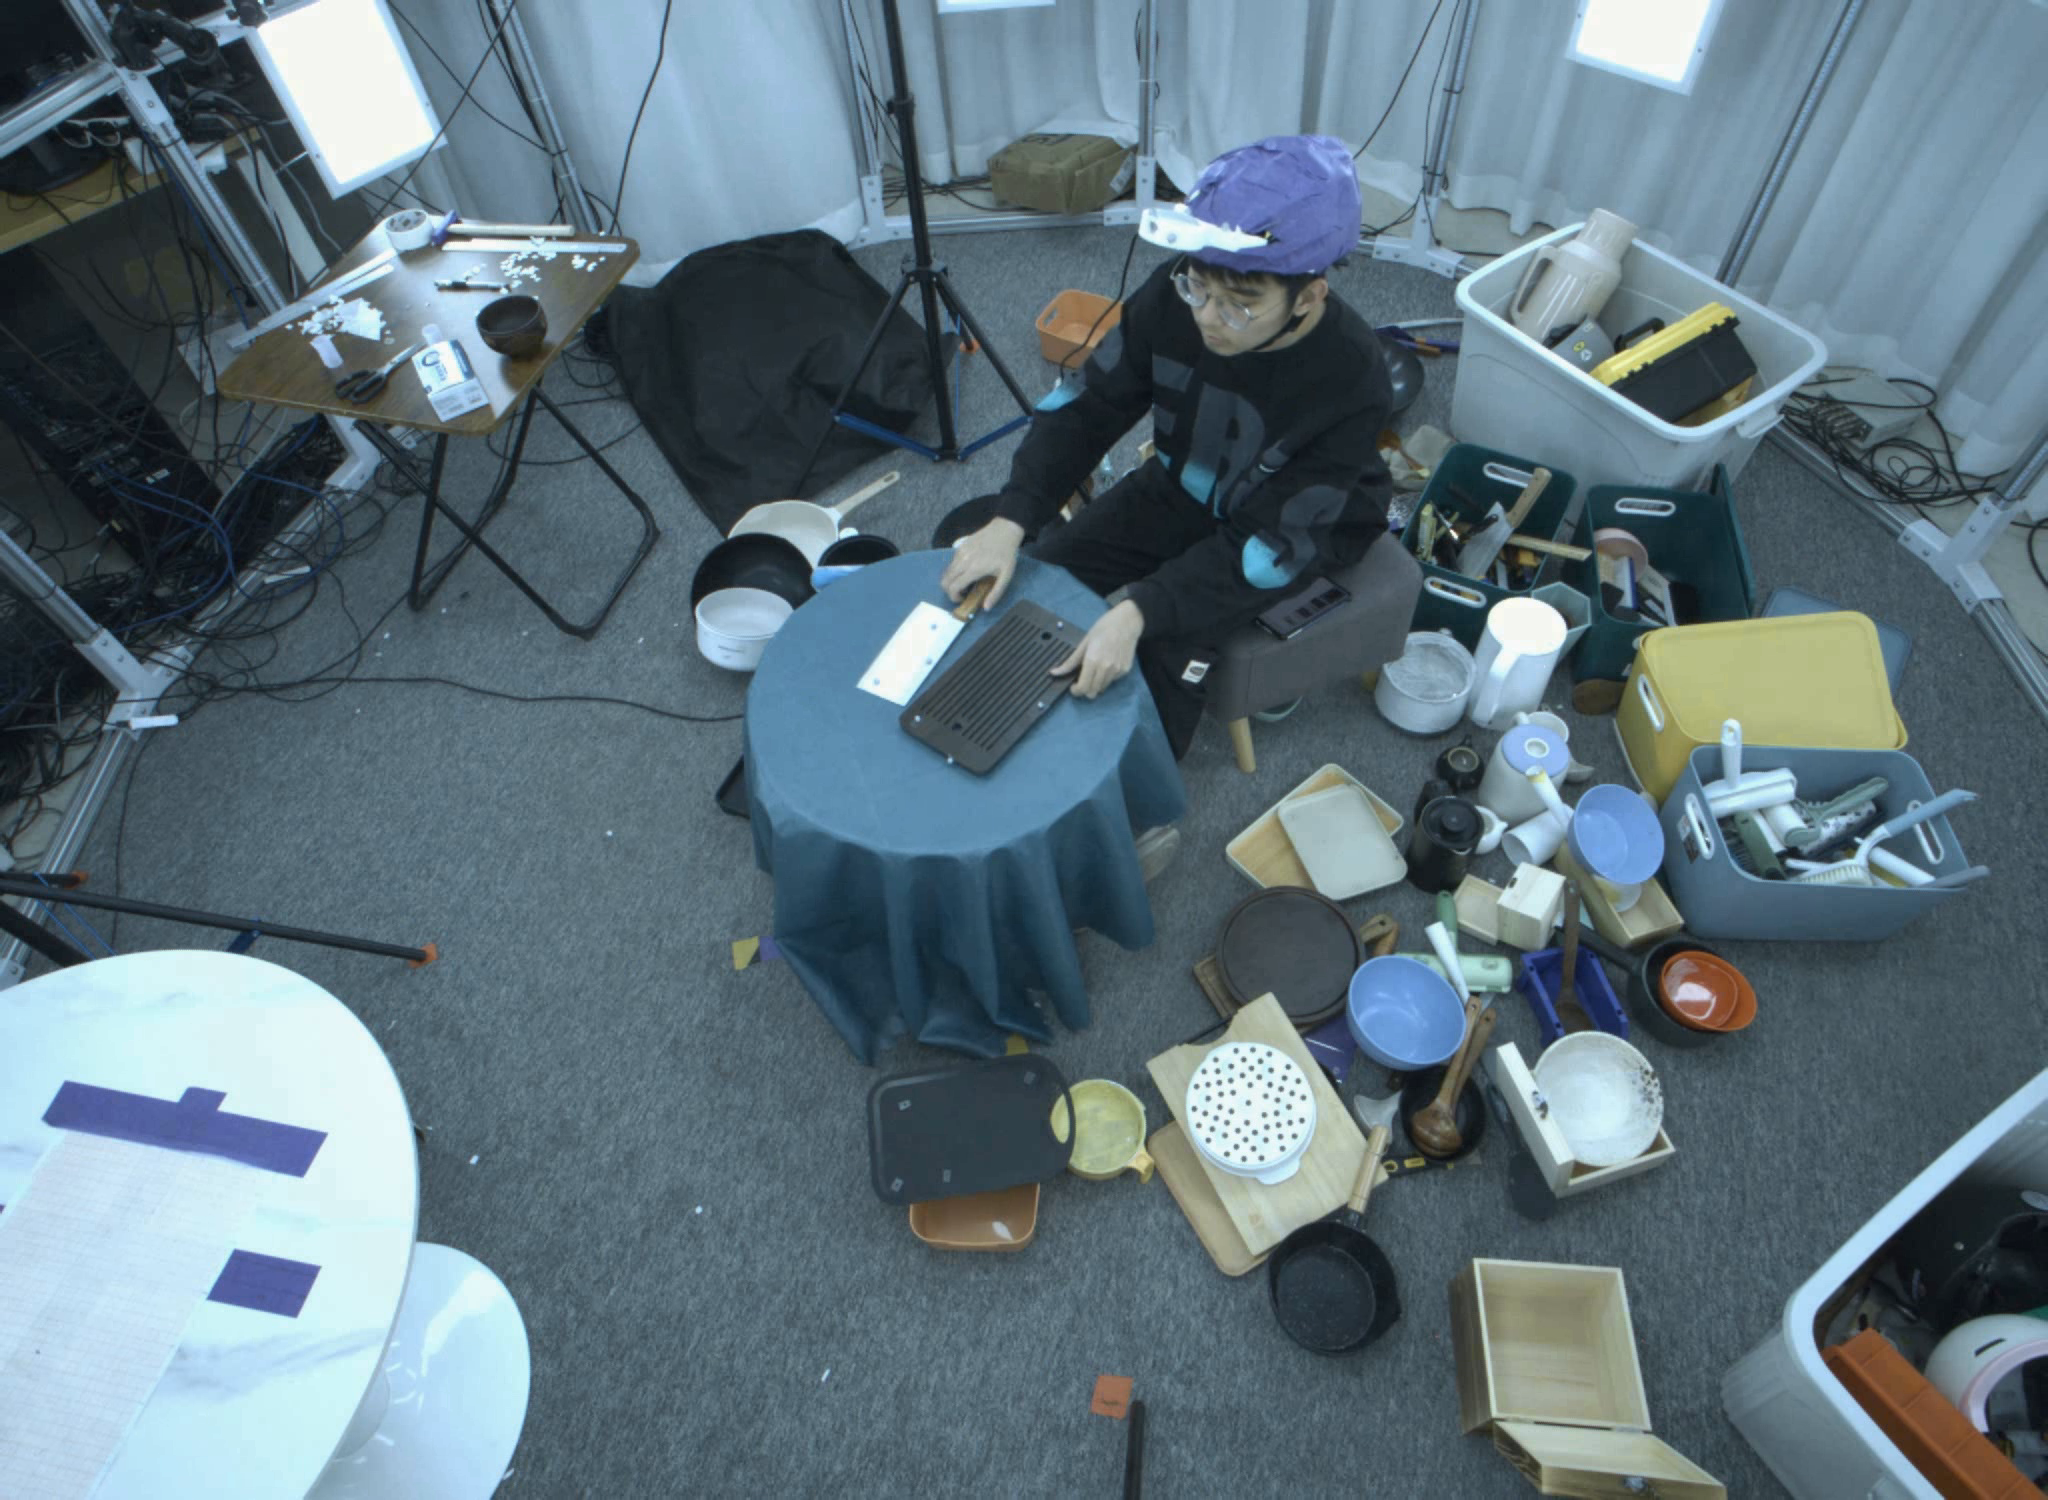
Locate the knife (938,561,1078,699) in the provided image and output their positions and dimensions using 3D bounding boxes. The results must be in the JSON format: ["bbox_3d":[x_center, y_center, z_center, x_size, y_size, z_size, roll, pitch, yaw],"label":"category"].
[{"bbox_3d":[-0.028,-0.199,1.919,0.091,0.021,0.307,27,62,21],"label":"knife"}]

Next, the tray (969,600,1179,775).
[{"bbox_3d":[0.077,-0.097,1.842,0.167,0.019,0.308,36,63,24],"label":"tray"}]
